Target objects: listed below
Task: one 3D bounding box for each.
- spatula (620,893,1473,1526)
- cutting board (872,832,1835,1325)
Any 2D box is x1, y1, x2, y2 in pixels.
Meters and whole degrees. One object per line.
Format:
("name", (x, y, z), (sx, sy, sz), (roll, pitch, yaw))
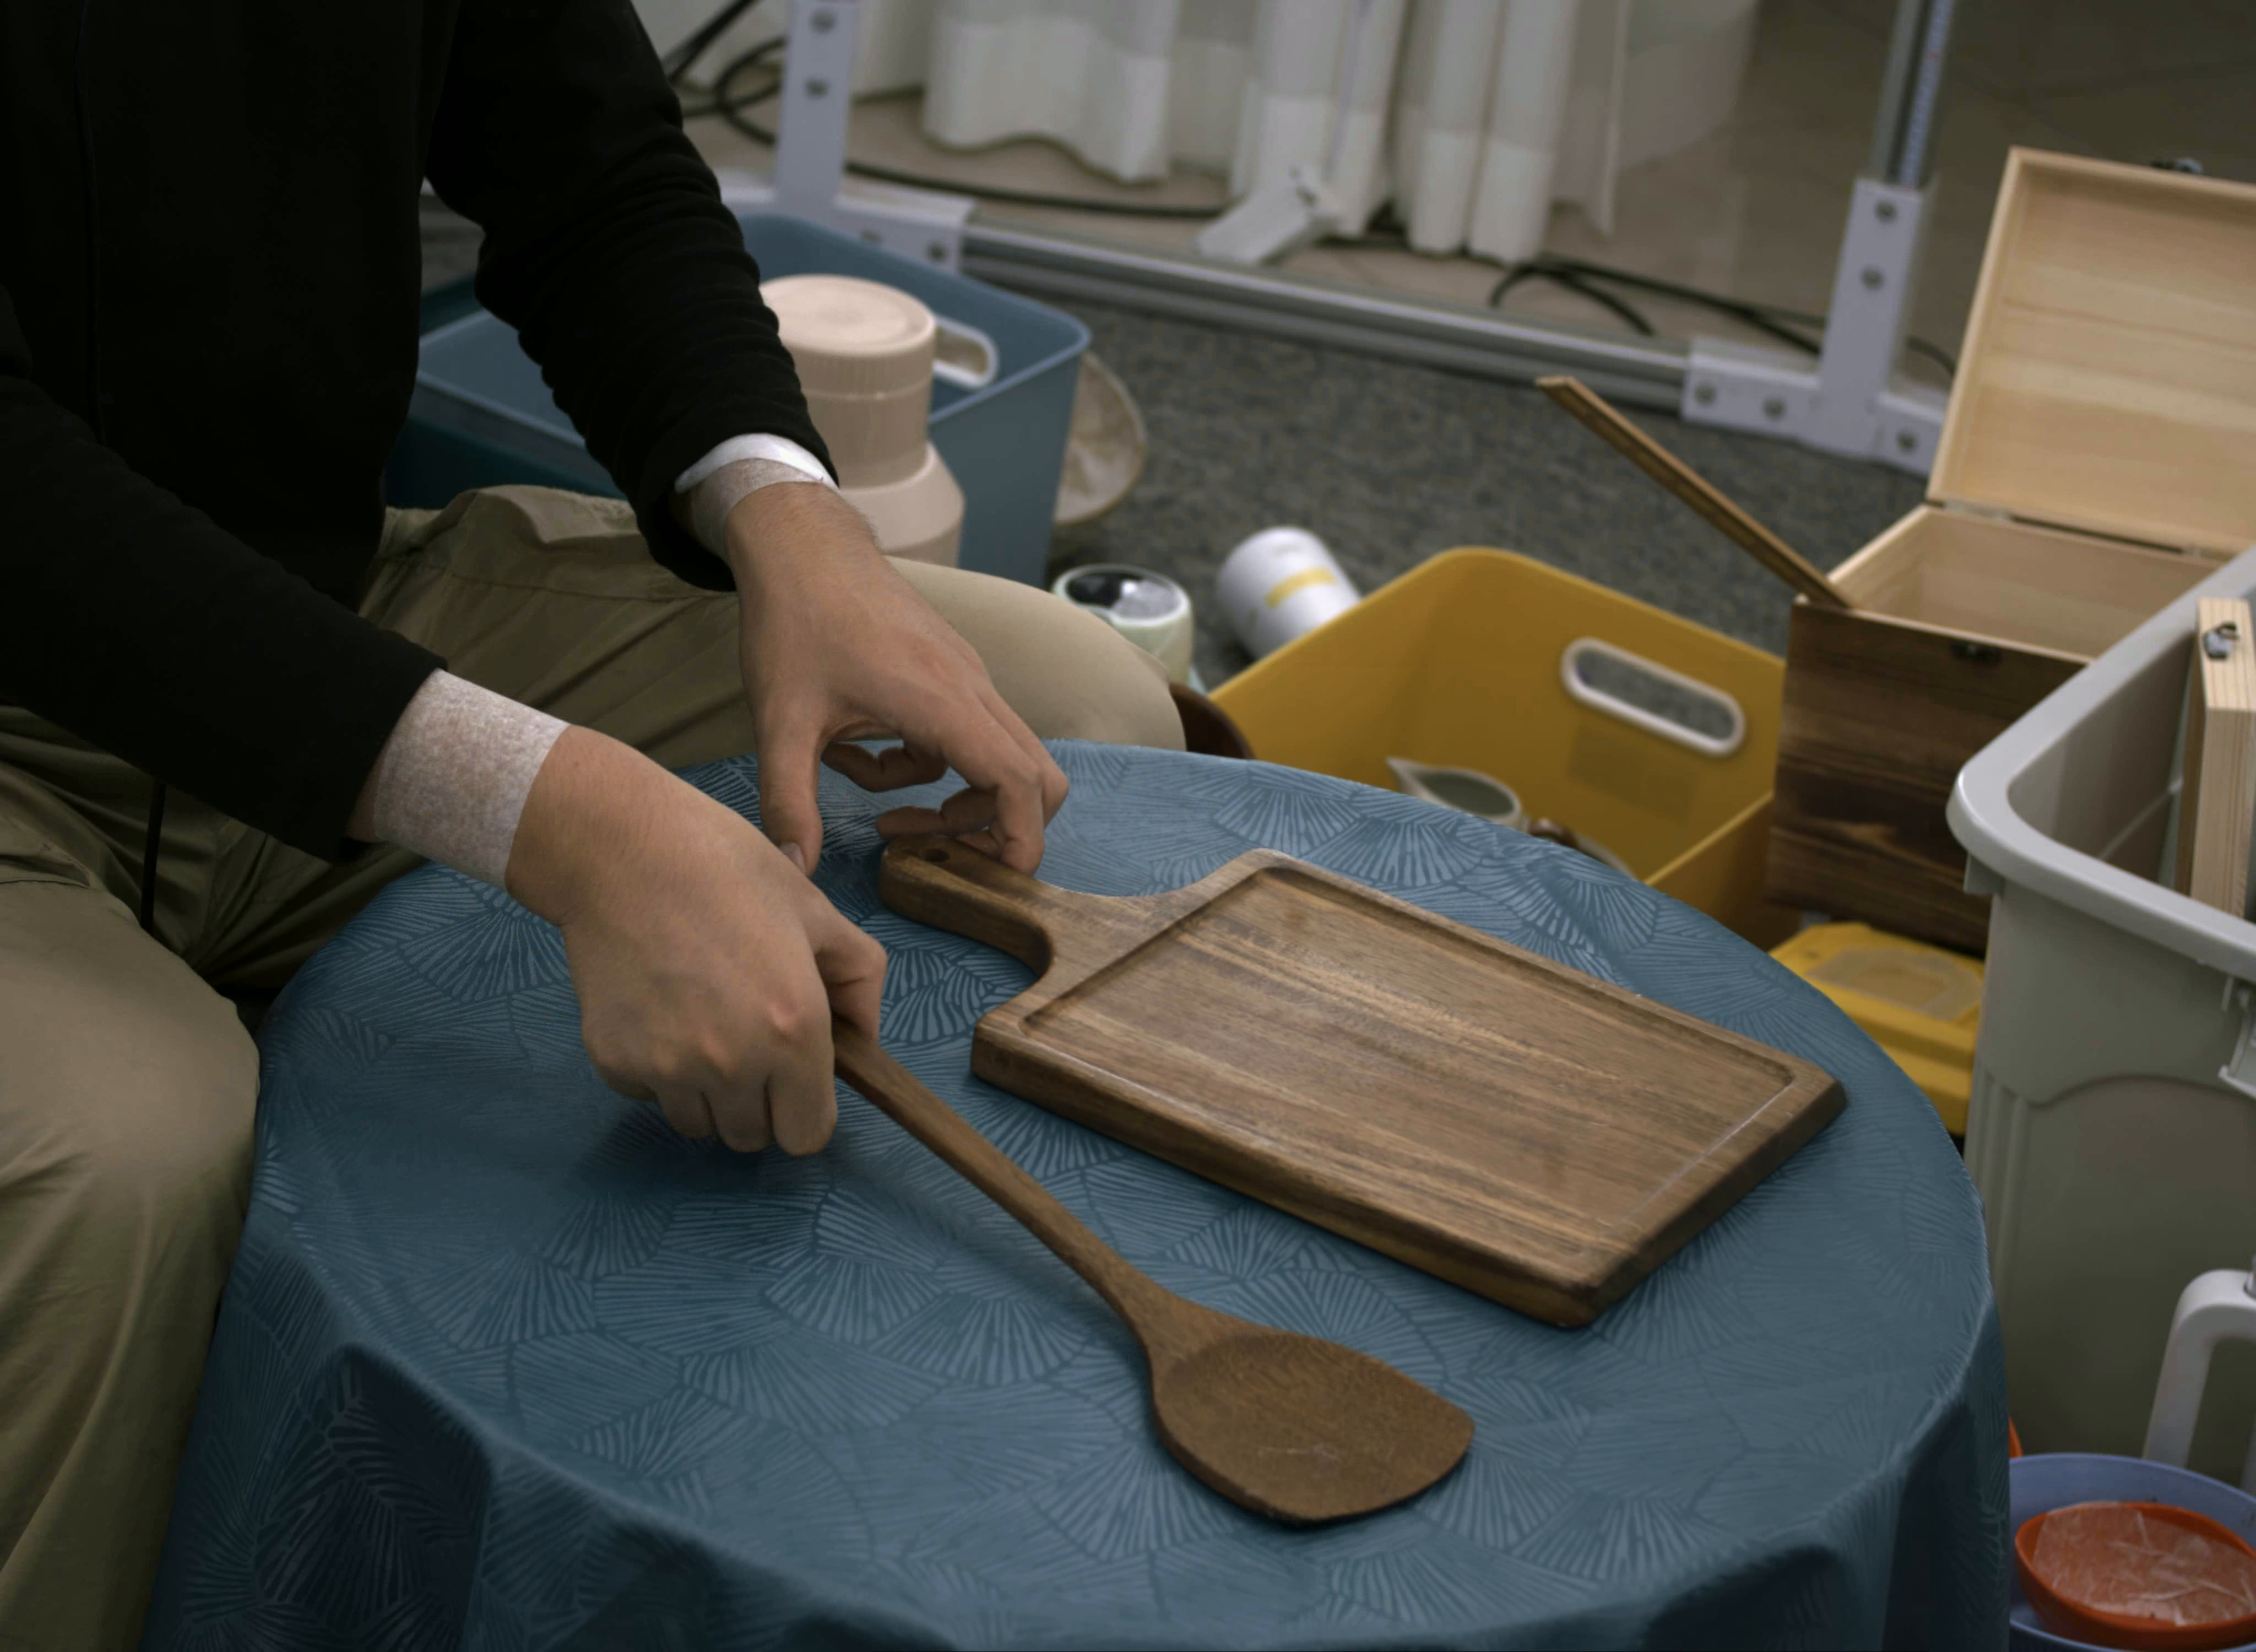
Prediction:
("spatula", (-0.044, 0.117, 1.757), (0.095, 0.016, 0.389), (-18, 42, -41))
("cutting board", (0.057, 0.070, 1.896), (0.354, 0.023, 0.200), (21, 30, 27))
